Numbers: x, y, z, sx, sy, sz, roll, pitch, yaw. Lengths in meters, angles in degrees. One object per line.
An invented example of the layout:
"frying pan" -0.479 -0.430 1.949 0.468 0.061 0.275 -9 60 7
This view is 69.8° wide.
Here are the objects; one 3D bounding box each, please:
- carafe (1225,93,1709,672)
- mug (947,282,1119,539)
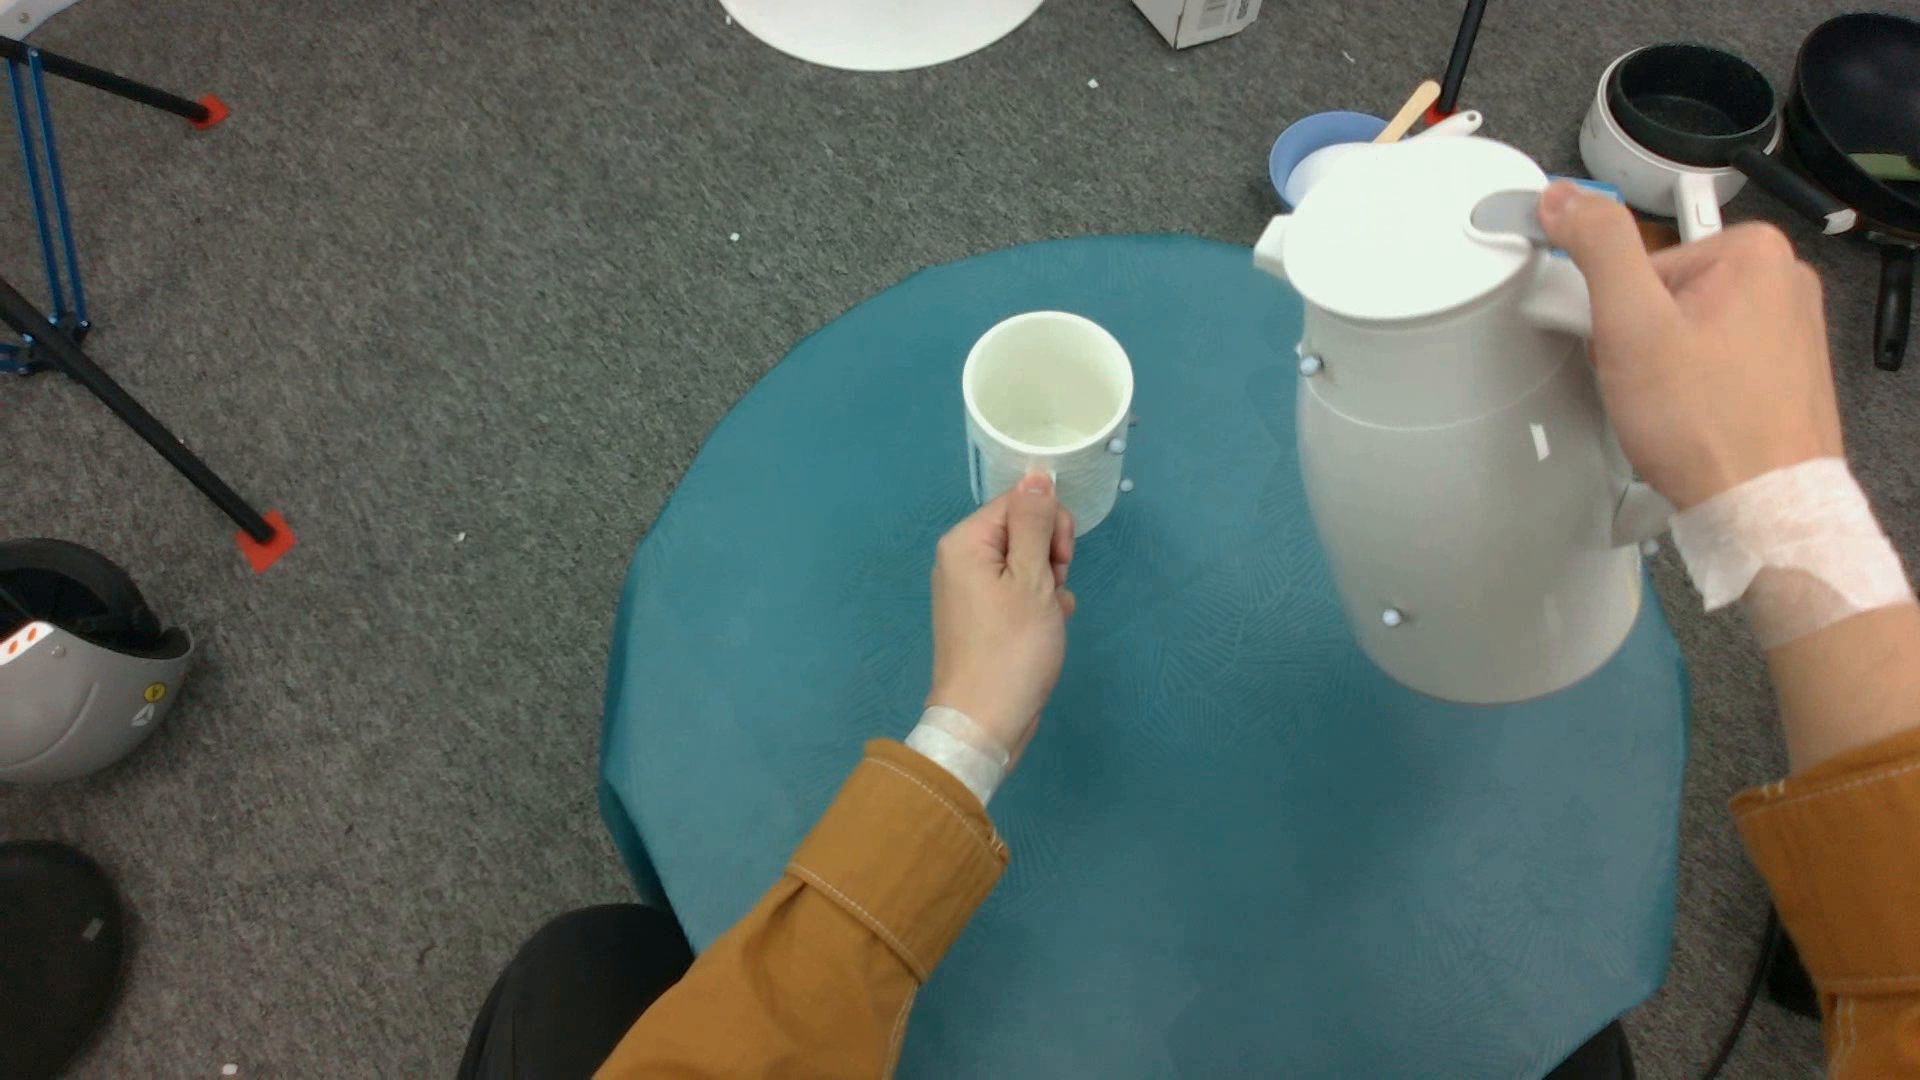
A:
"carafe" 0.211 -0.060 0.559 0.167 0.248 0.133 13 63 35
"mug" 0.037 -0.055 0.713 0.085 0.101 0.119 3 62 4
